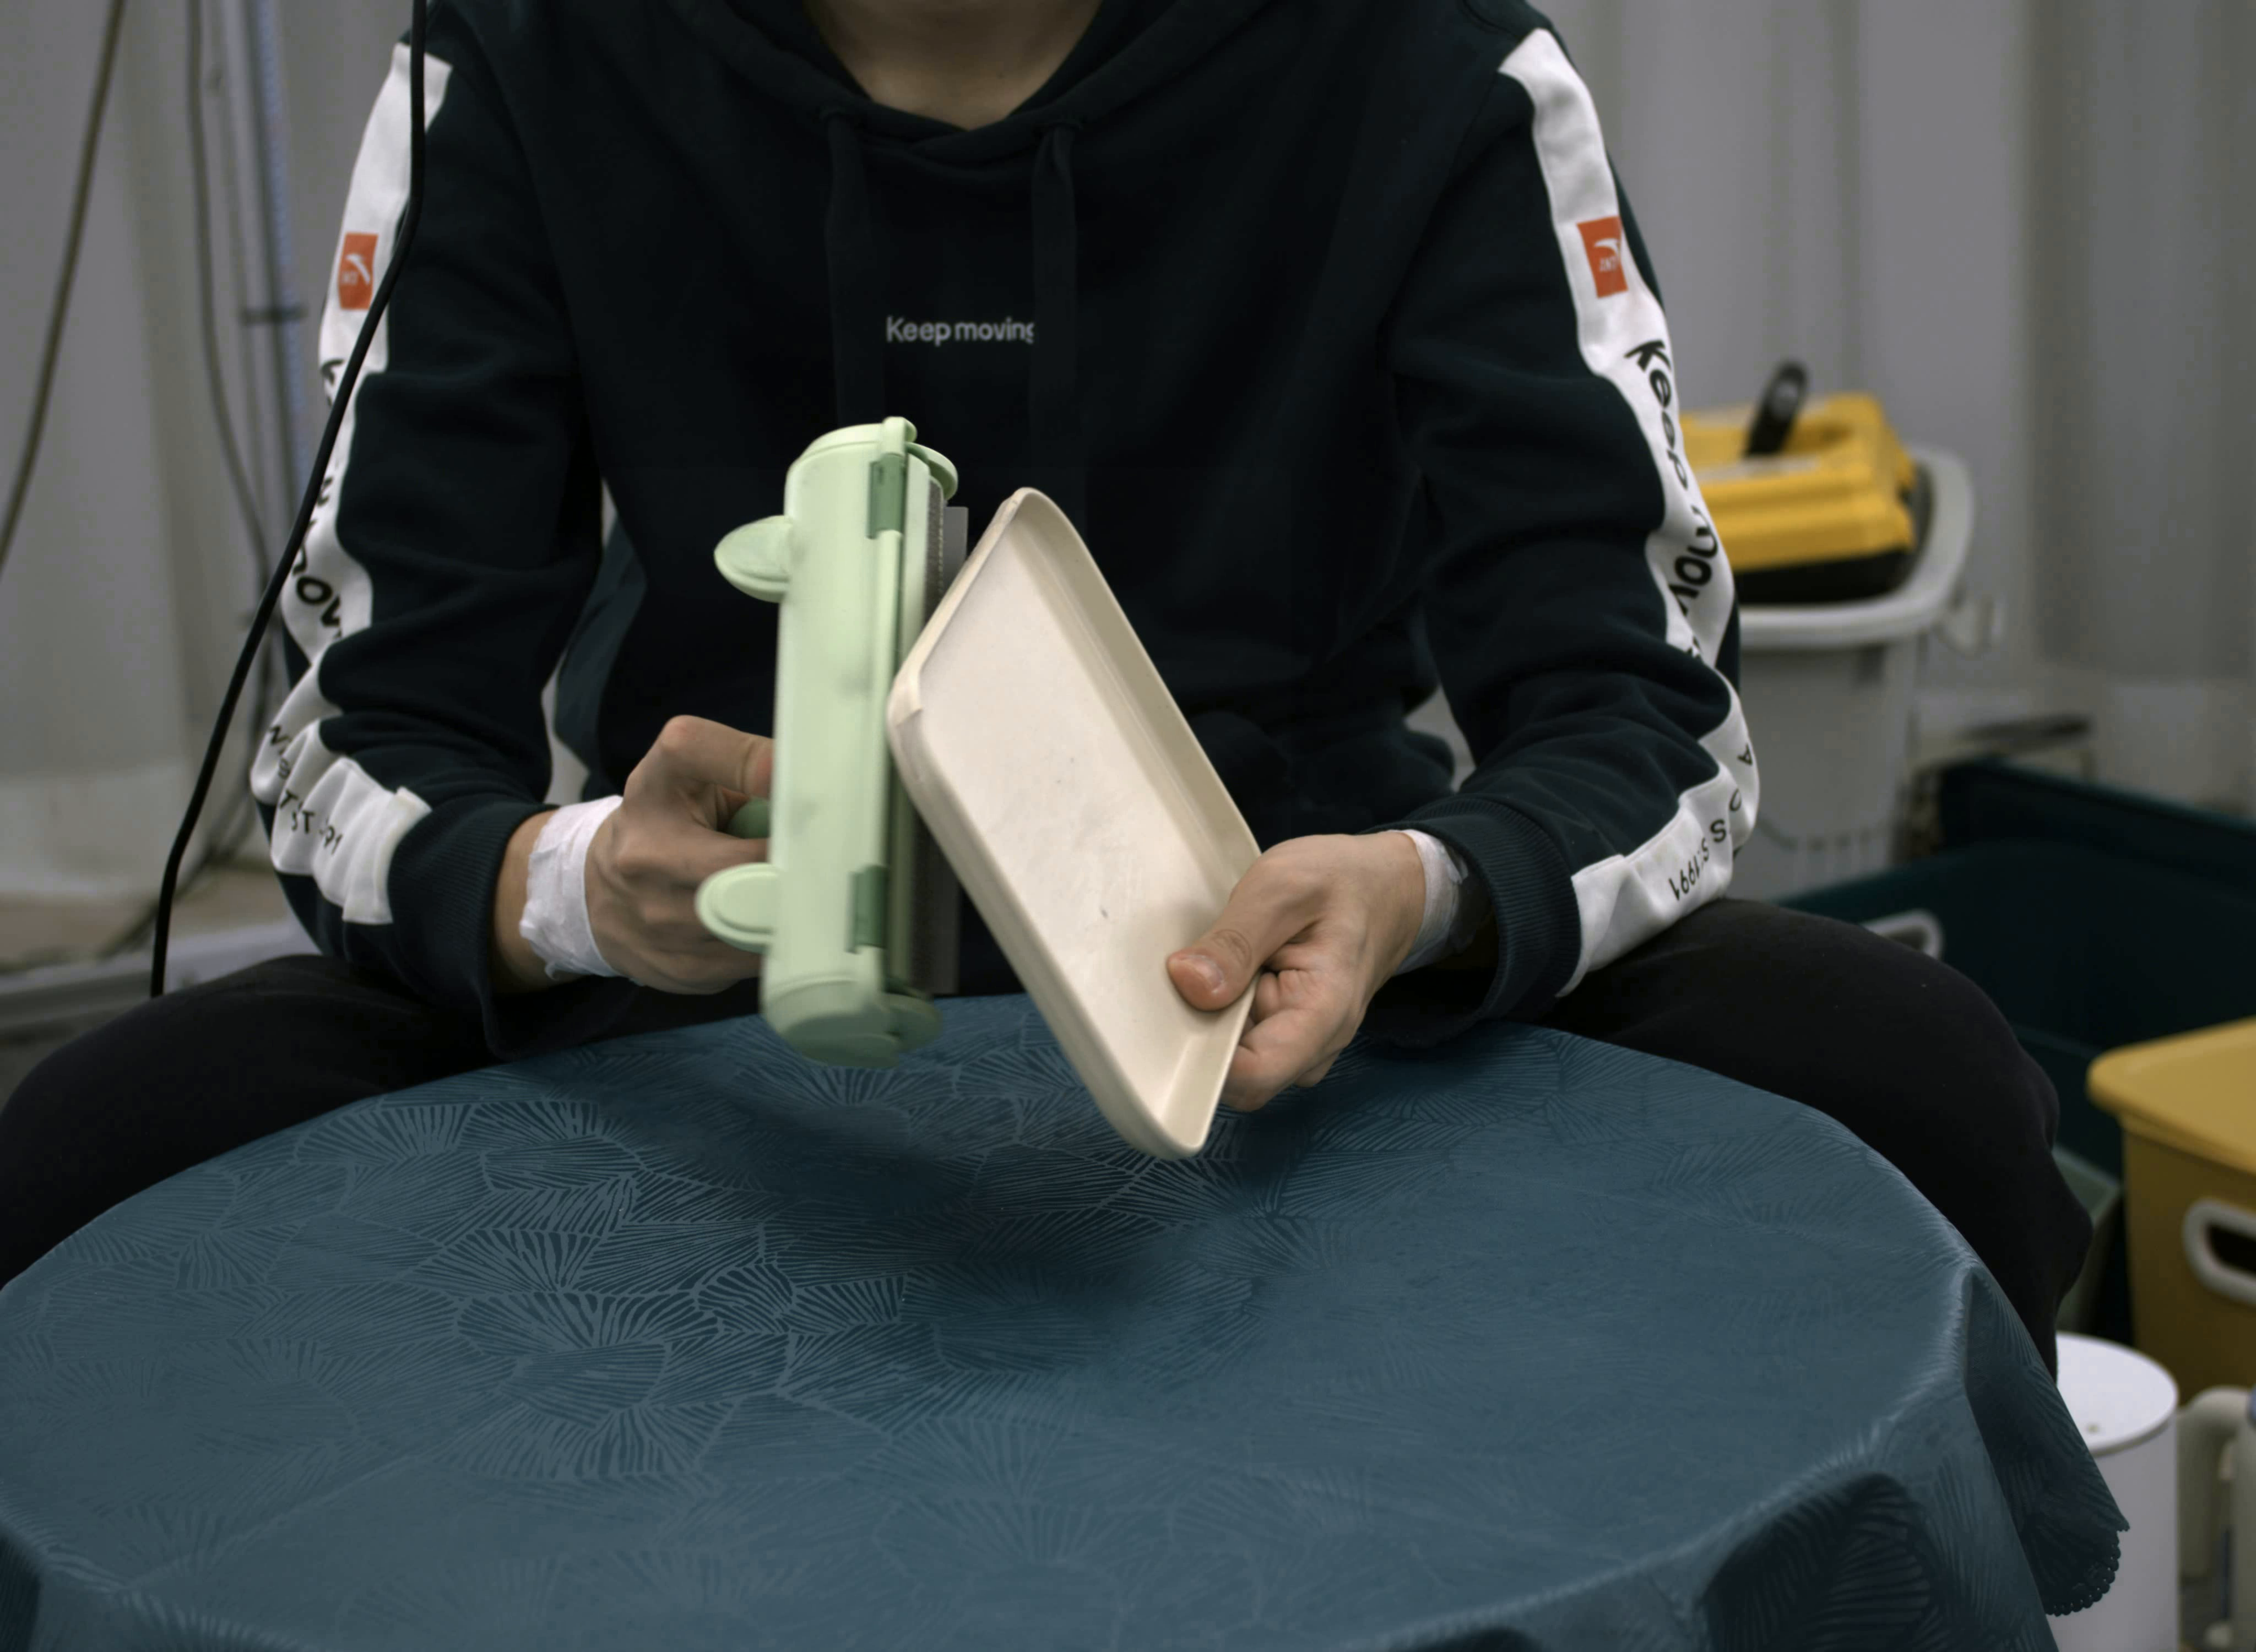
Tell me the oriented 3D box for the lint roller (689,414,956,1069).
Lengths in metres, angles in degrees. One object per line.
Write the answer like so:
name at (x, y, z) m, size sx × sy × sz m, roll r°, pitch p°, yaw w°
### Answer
lint roller at (-0.115, -0.009, 1.707) m, size 0.081 × 0.201 × 0.182 m, roll 13°, pitch -26°, yaw -25°

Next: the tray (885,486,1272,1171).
tray at (-0.014, -0.002, 1.679) m, size 0.017 × 0.170 × 0.241 m, roll -26°, pitch 14°, yaw 17°
